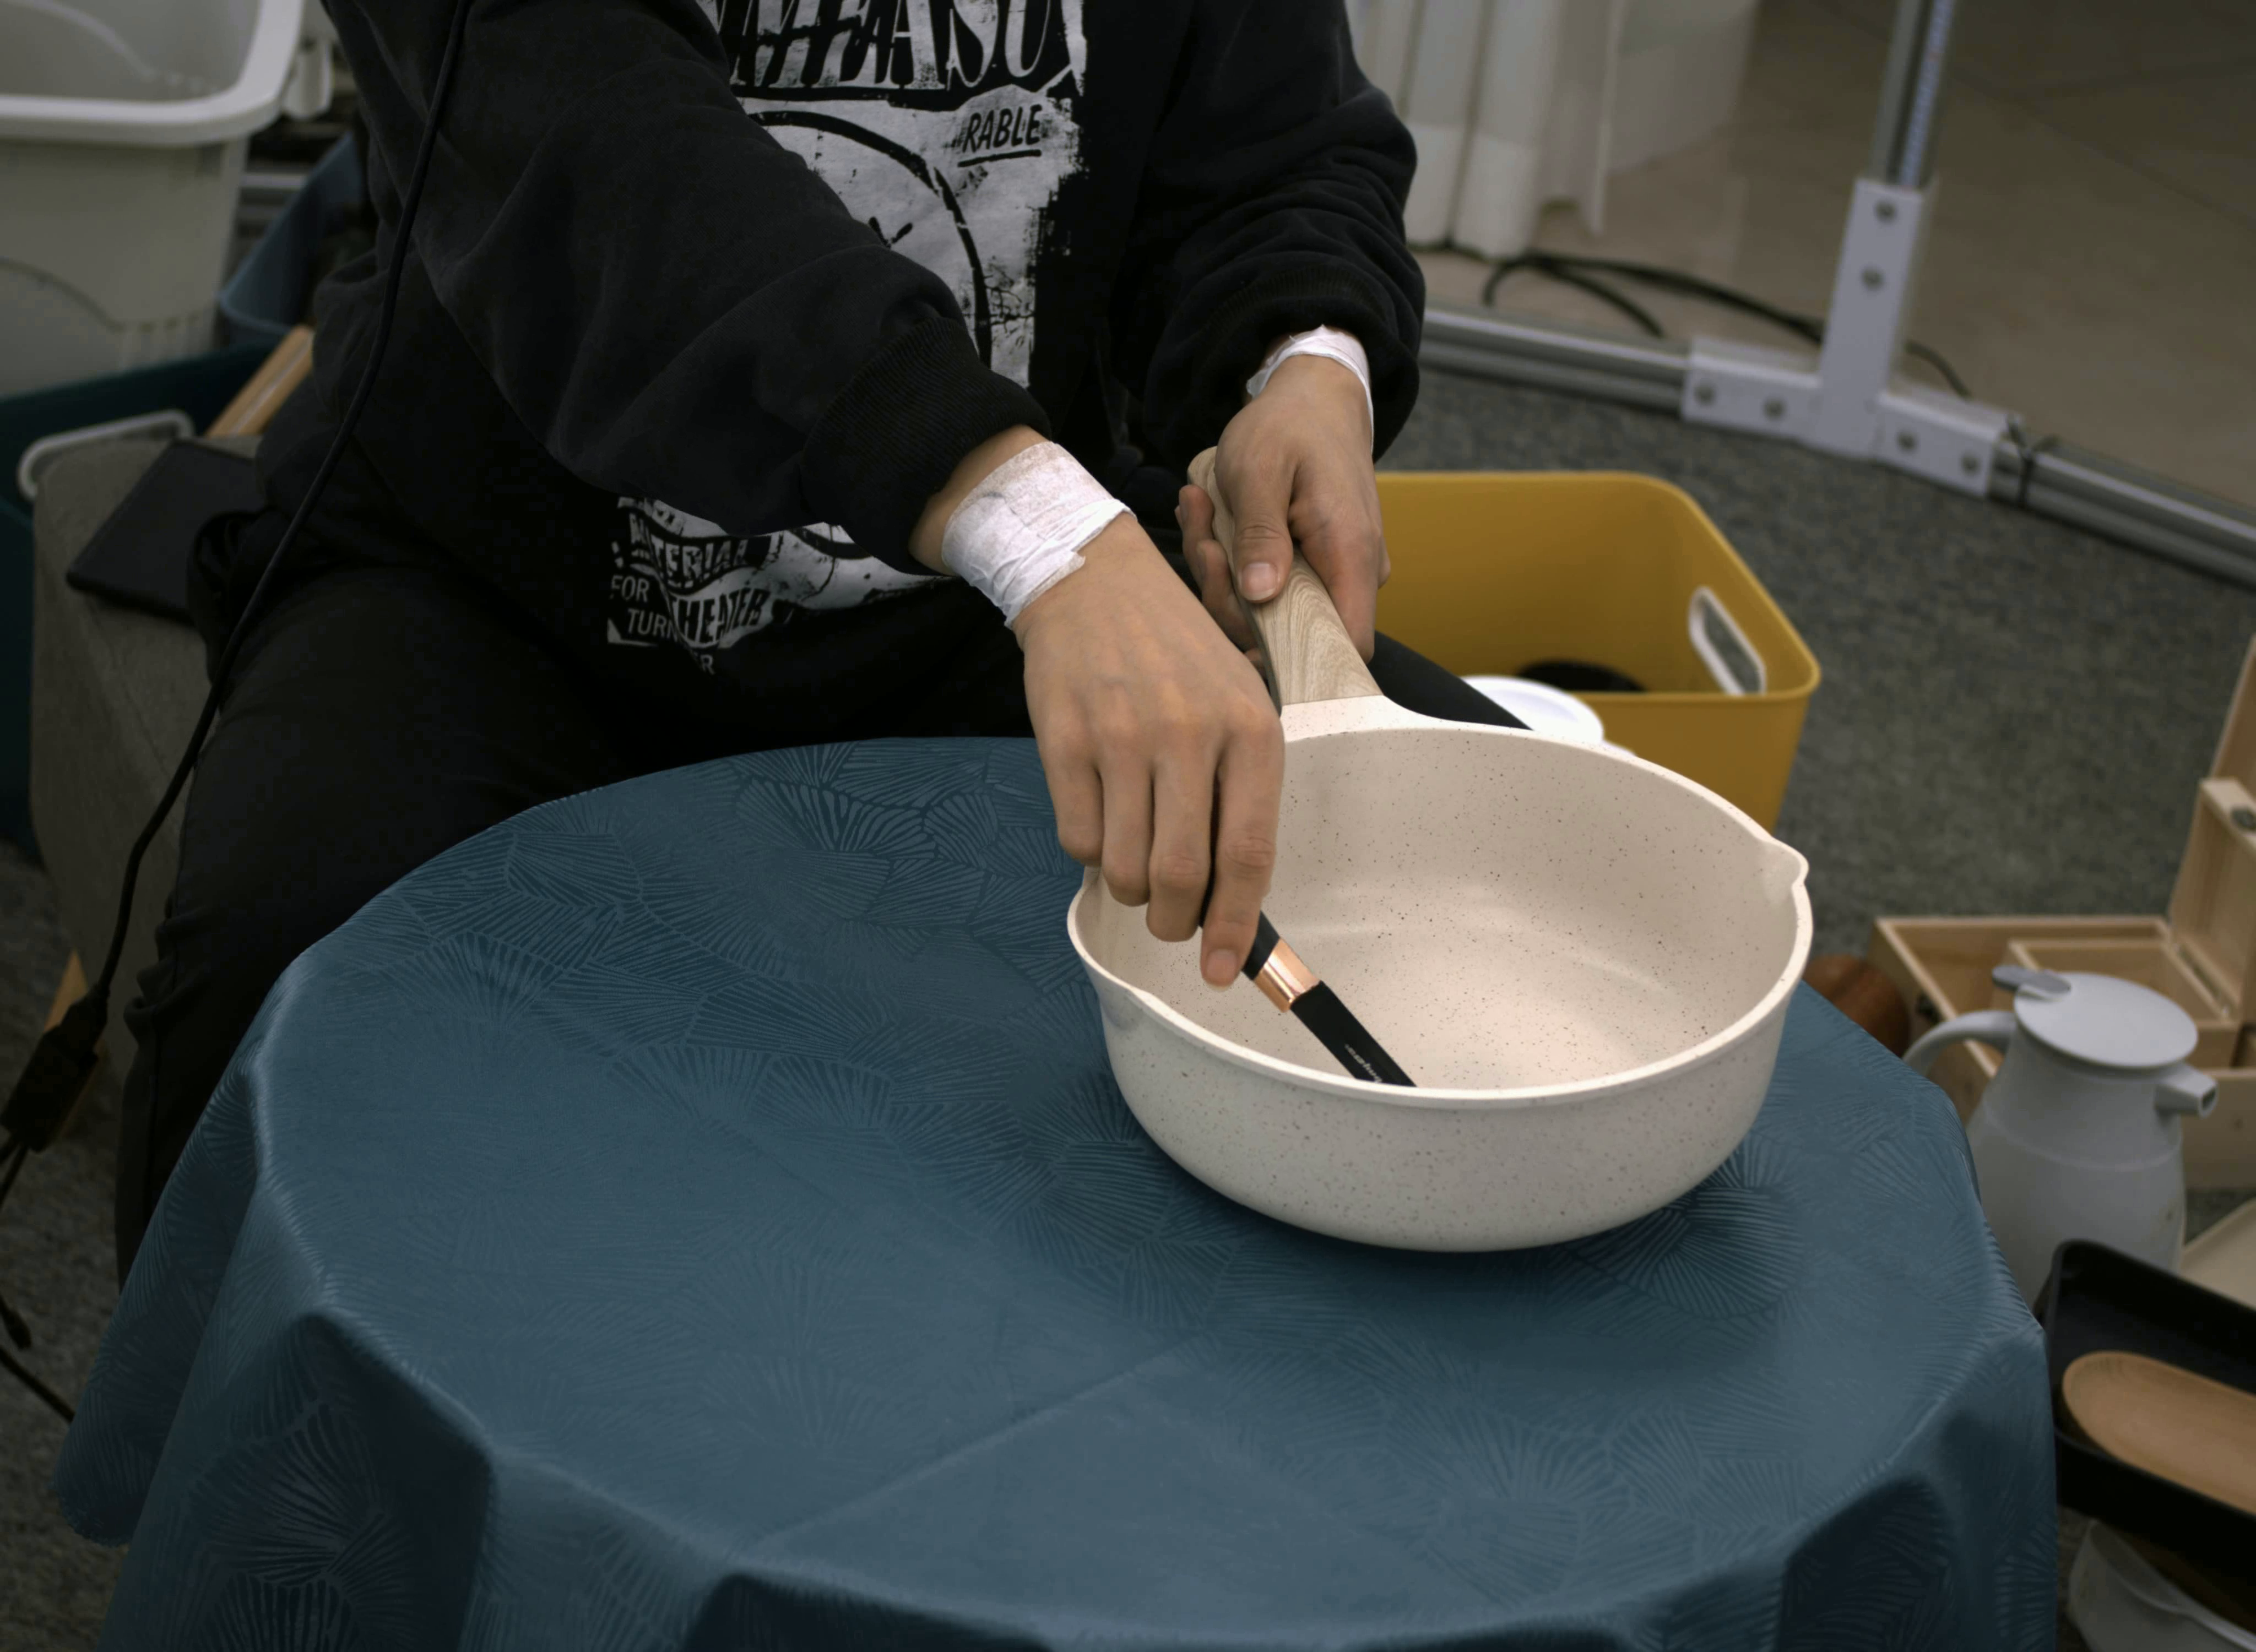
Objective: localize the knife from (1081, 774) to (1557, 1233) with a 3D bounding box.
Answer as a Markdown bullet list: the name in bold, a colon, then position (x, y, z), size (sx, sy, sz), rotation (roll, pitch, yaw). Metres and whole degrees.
- **knife**: position (0.064, 0.061, 1.814), size (0.227, 0.017, 0.026), rotation (45, 30, 17)

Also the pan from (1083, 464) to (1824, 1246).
- **pan**: position (0.089, 0.007, 1.922), size (0.262, 0.101, 0.438), rotation (-8, 31, -12)
